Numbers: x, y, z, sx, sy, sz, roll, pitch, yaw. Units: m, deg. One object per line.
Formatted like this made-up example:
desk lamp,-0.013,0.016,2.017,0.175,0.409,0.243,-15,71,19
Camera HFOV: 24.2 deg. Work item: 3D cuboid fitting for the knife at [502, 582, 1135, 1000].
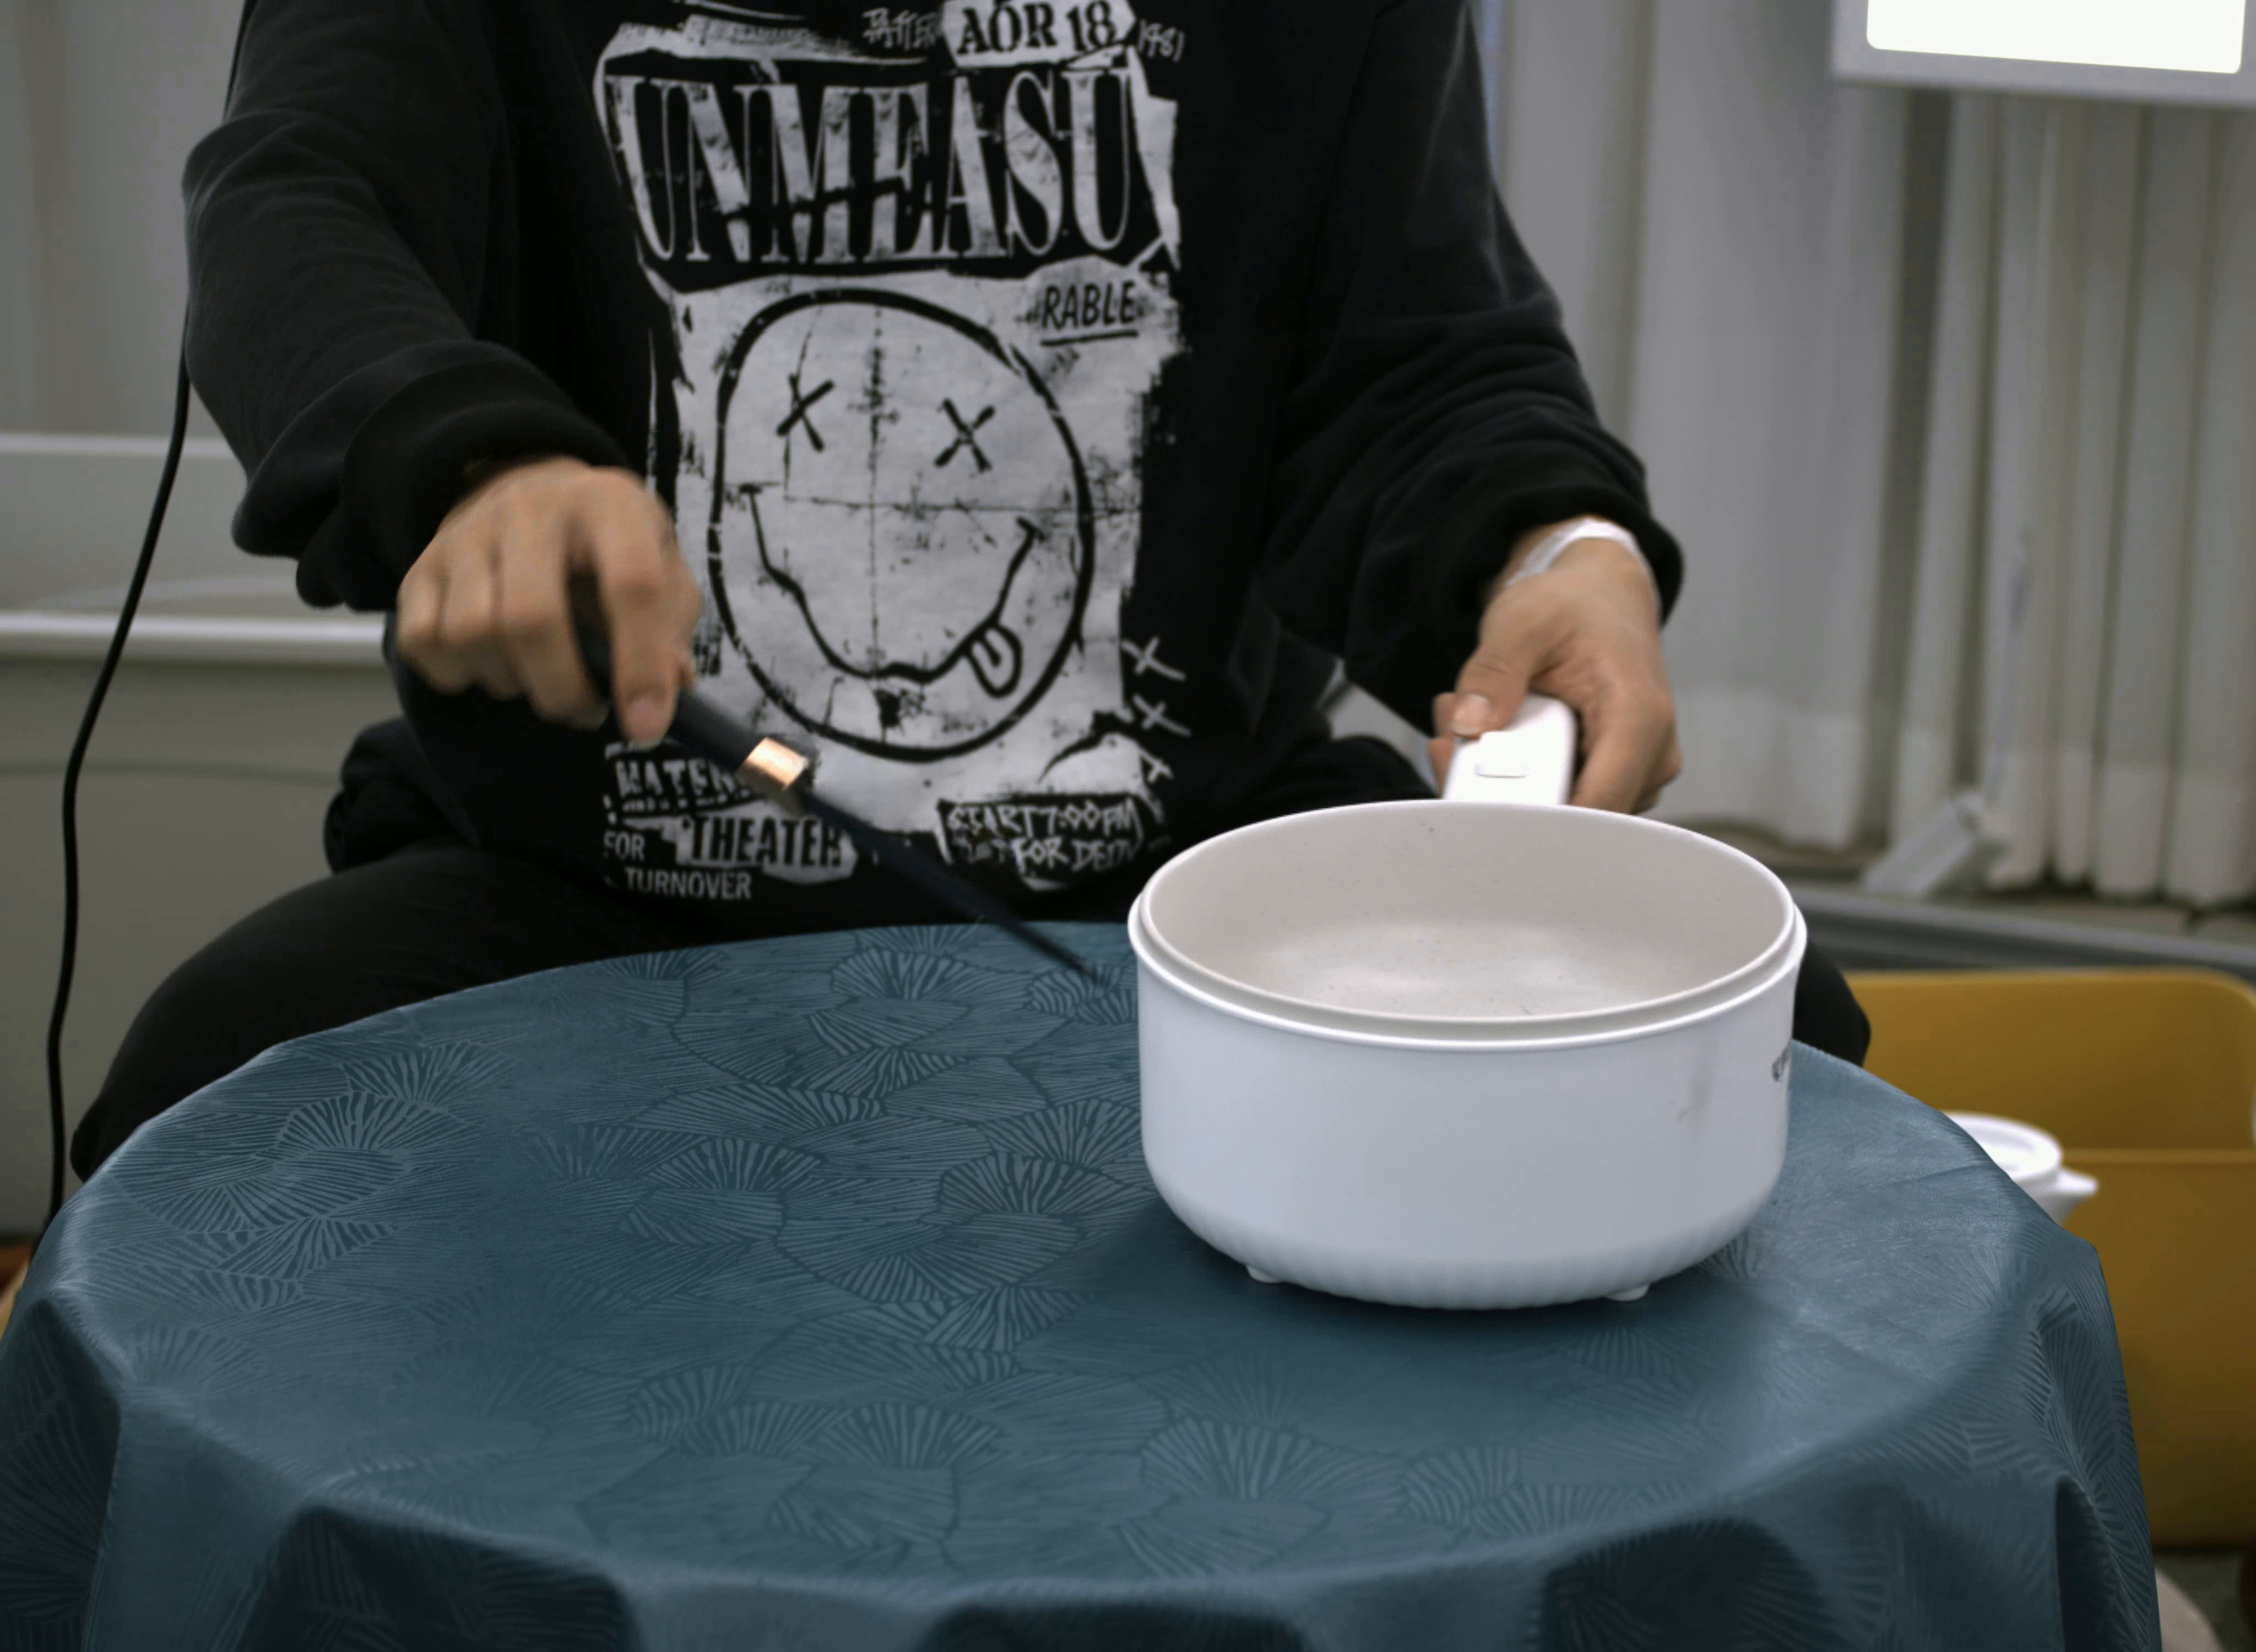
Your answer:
knife,-0.090,-0.011,1.529,0.224,0.026,0.017,31,59,14

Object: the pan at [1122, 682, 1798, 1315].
pan,0.109,0.049,1.650,0.200,0.103,0.353,0,18,7
